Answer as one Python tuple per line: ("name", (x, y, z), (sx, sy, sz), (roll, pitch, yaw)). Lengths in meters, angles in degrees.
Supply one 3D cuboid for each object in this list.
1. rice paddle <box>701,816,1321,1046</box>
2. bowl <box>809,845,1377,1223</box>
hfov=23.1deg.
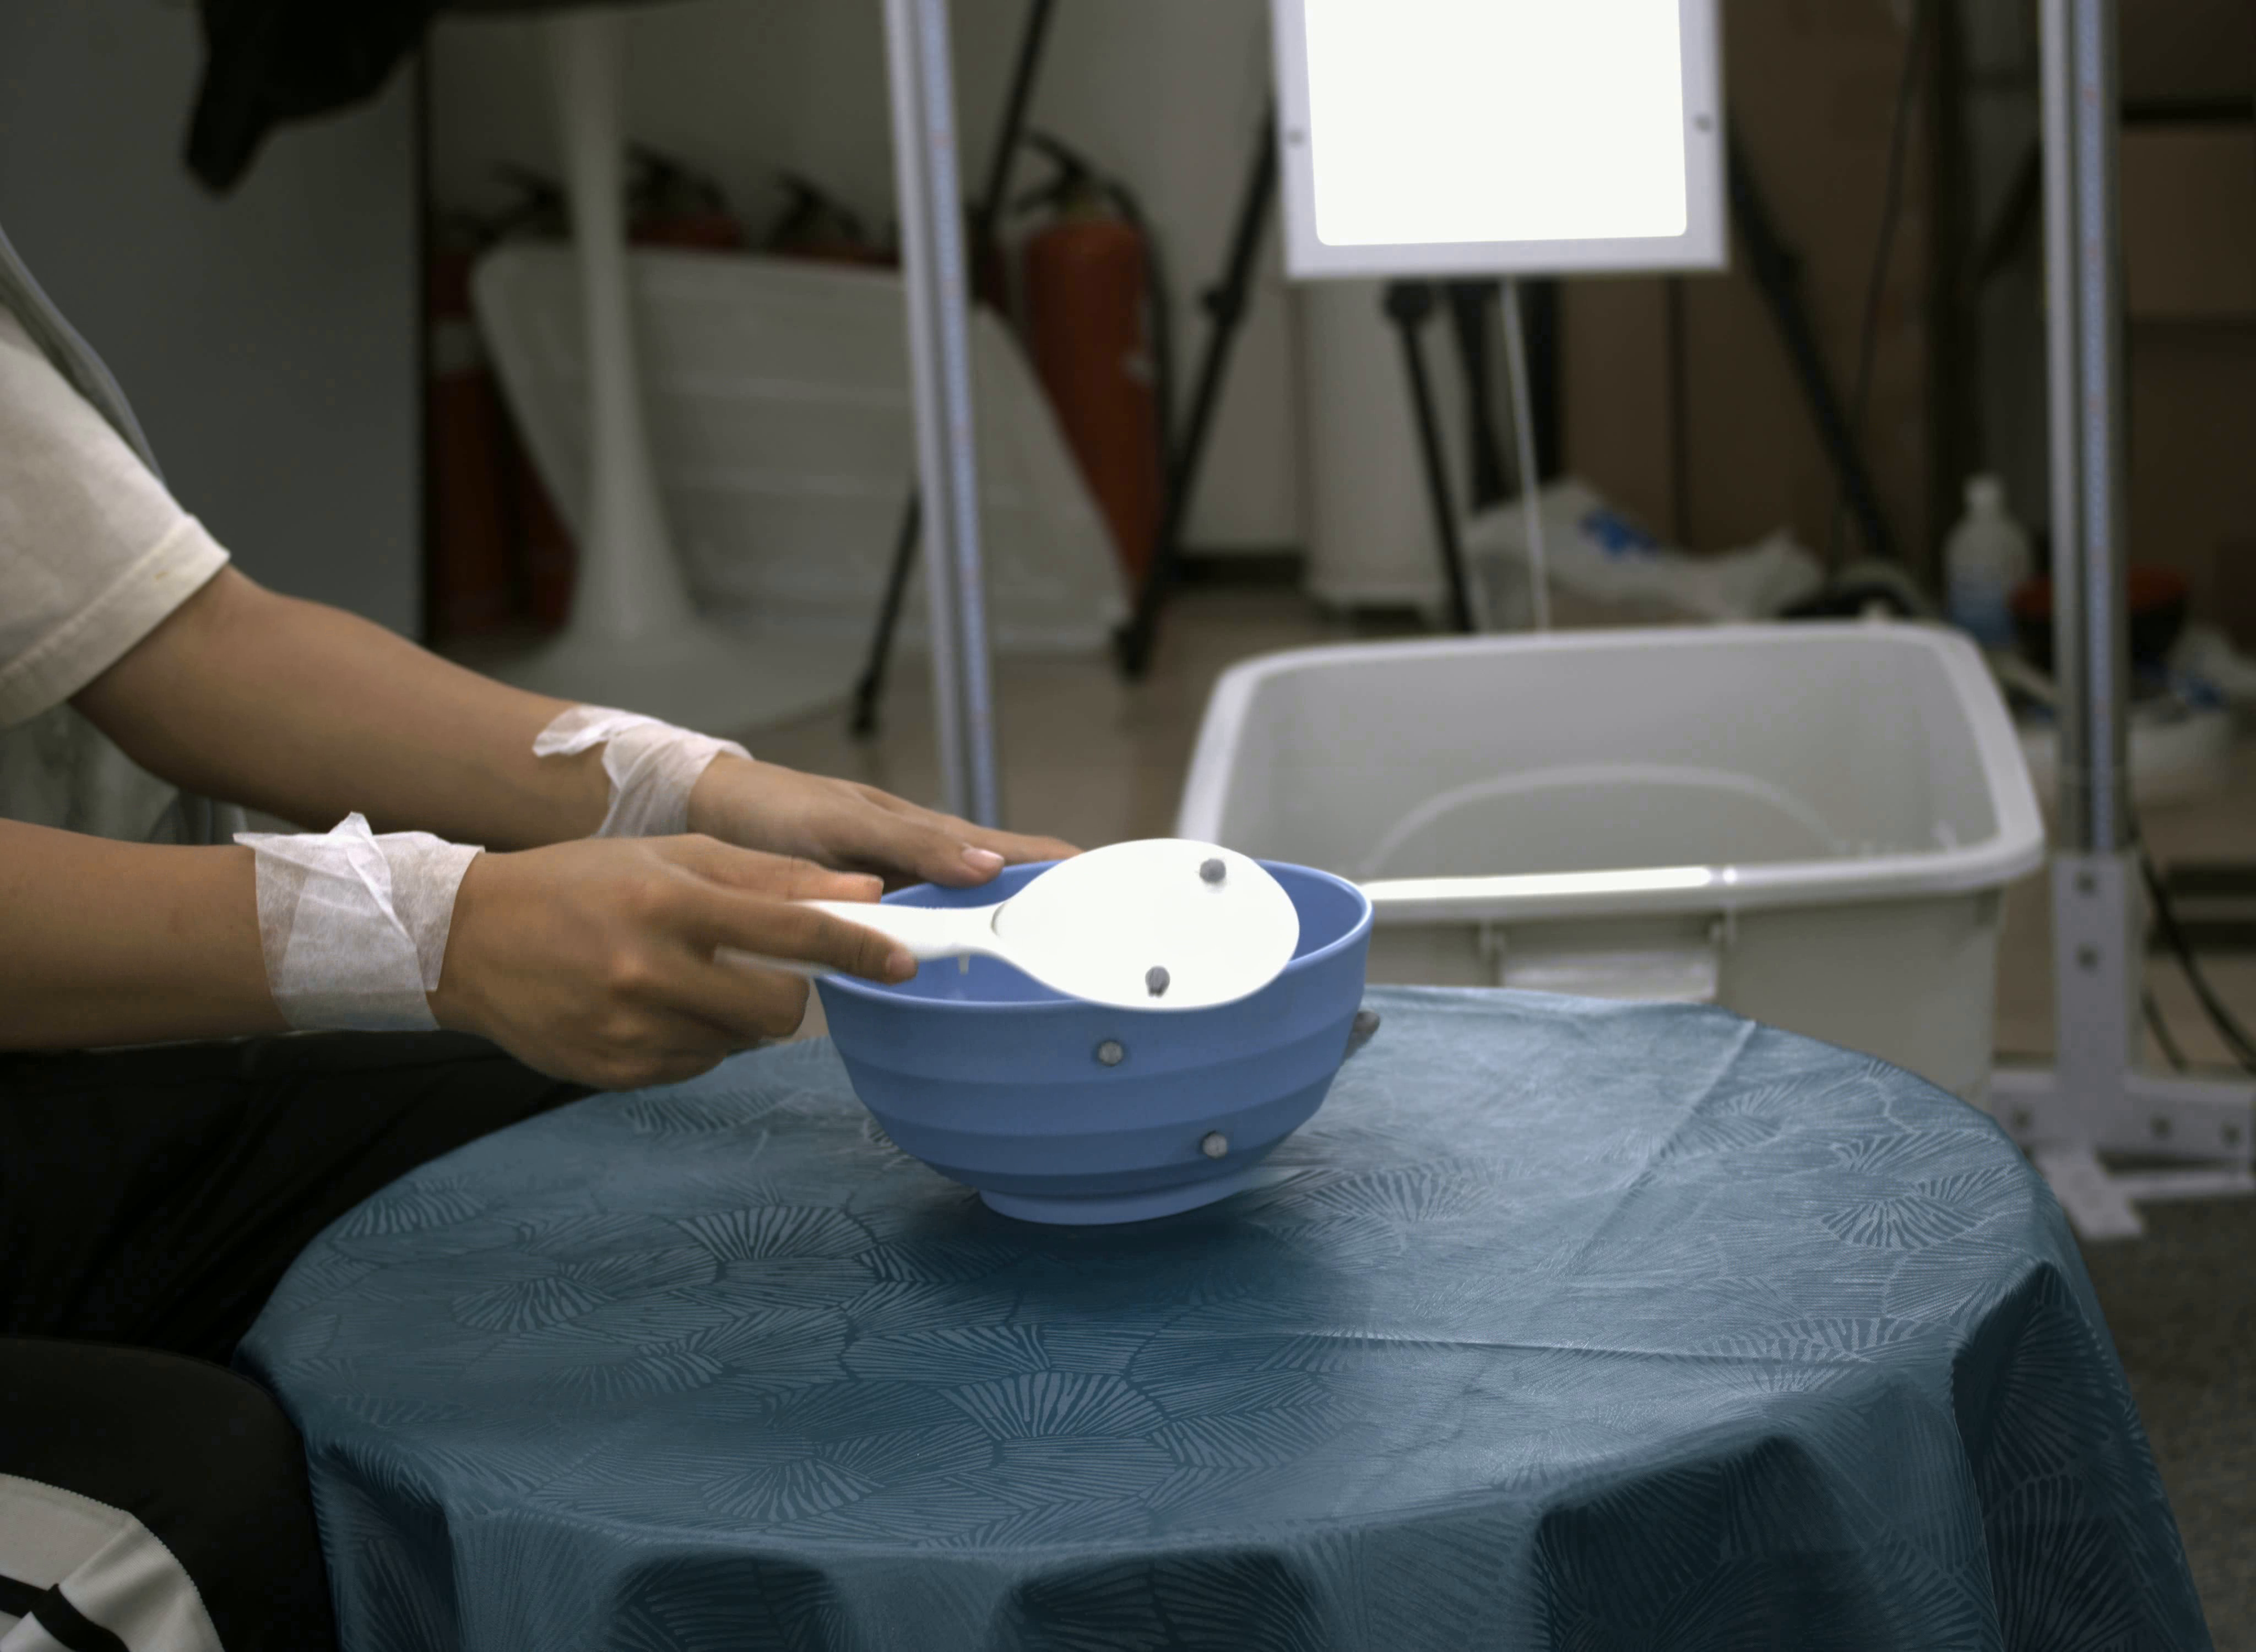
("rice paddle", (-0.036, 0.032, 1.776), (0.203, 0.029, 0.069), (-13, 39, -8))
("bowl", (-0.010, 0.077, 1.896), (0.196, 0.096, 0.196), (-4, 15, 0))
